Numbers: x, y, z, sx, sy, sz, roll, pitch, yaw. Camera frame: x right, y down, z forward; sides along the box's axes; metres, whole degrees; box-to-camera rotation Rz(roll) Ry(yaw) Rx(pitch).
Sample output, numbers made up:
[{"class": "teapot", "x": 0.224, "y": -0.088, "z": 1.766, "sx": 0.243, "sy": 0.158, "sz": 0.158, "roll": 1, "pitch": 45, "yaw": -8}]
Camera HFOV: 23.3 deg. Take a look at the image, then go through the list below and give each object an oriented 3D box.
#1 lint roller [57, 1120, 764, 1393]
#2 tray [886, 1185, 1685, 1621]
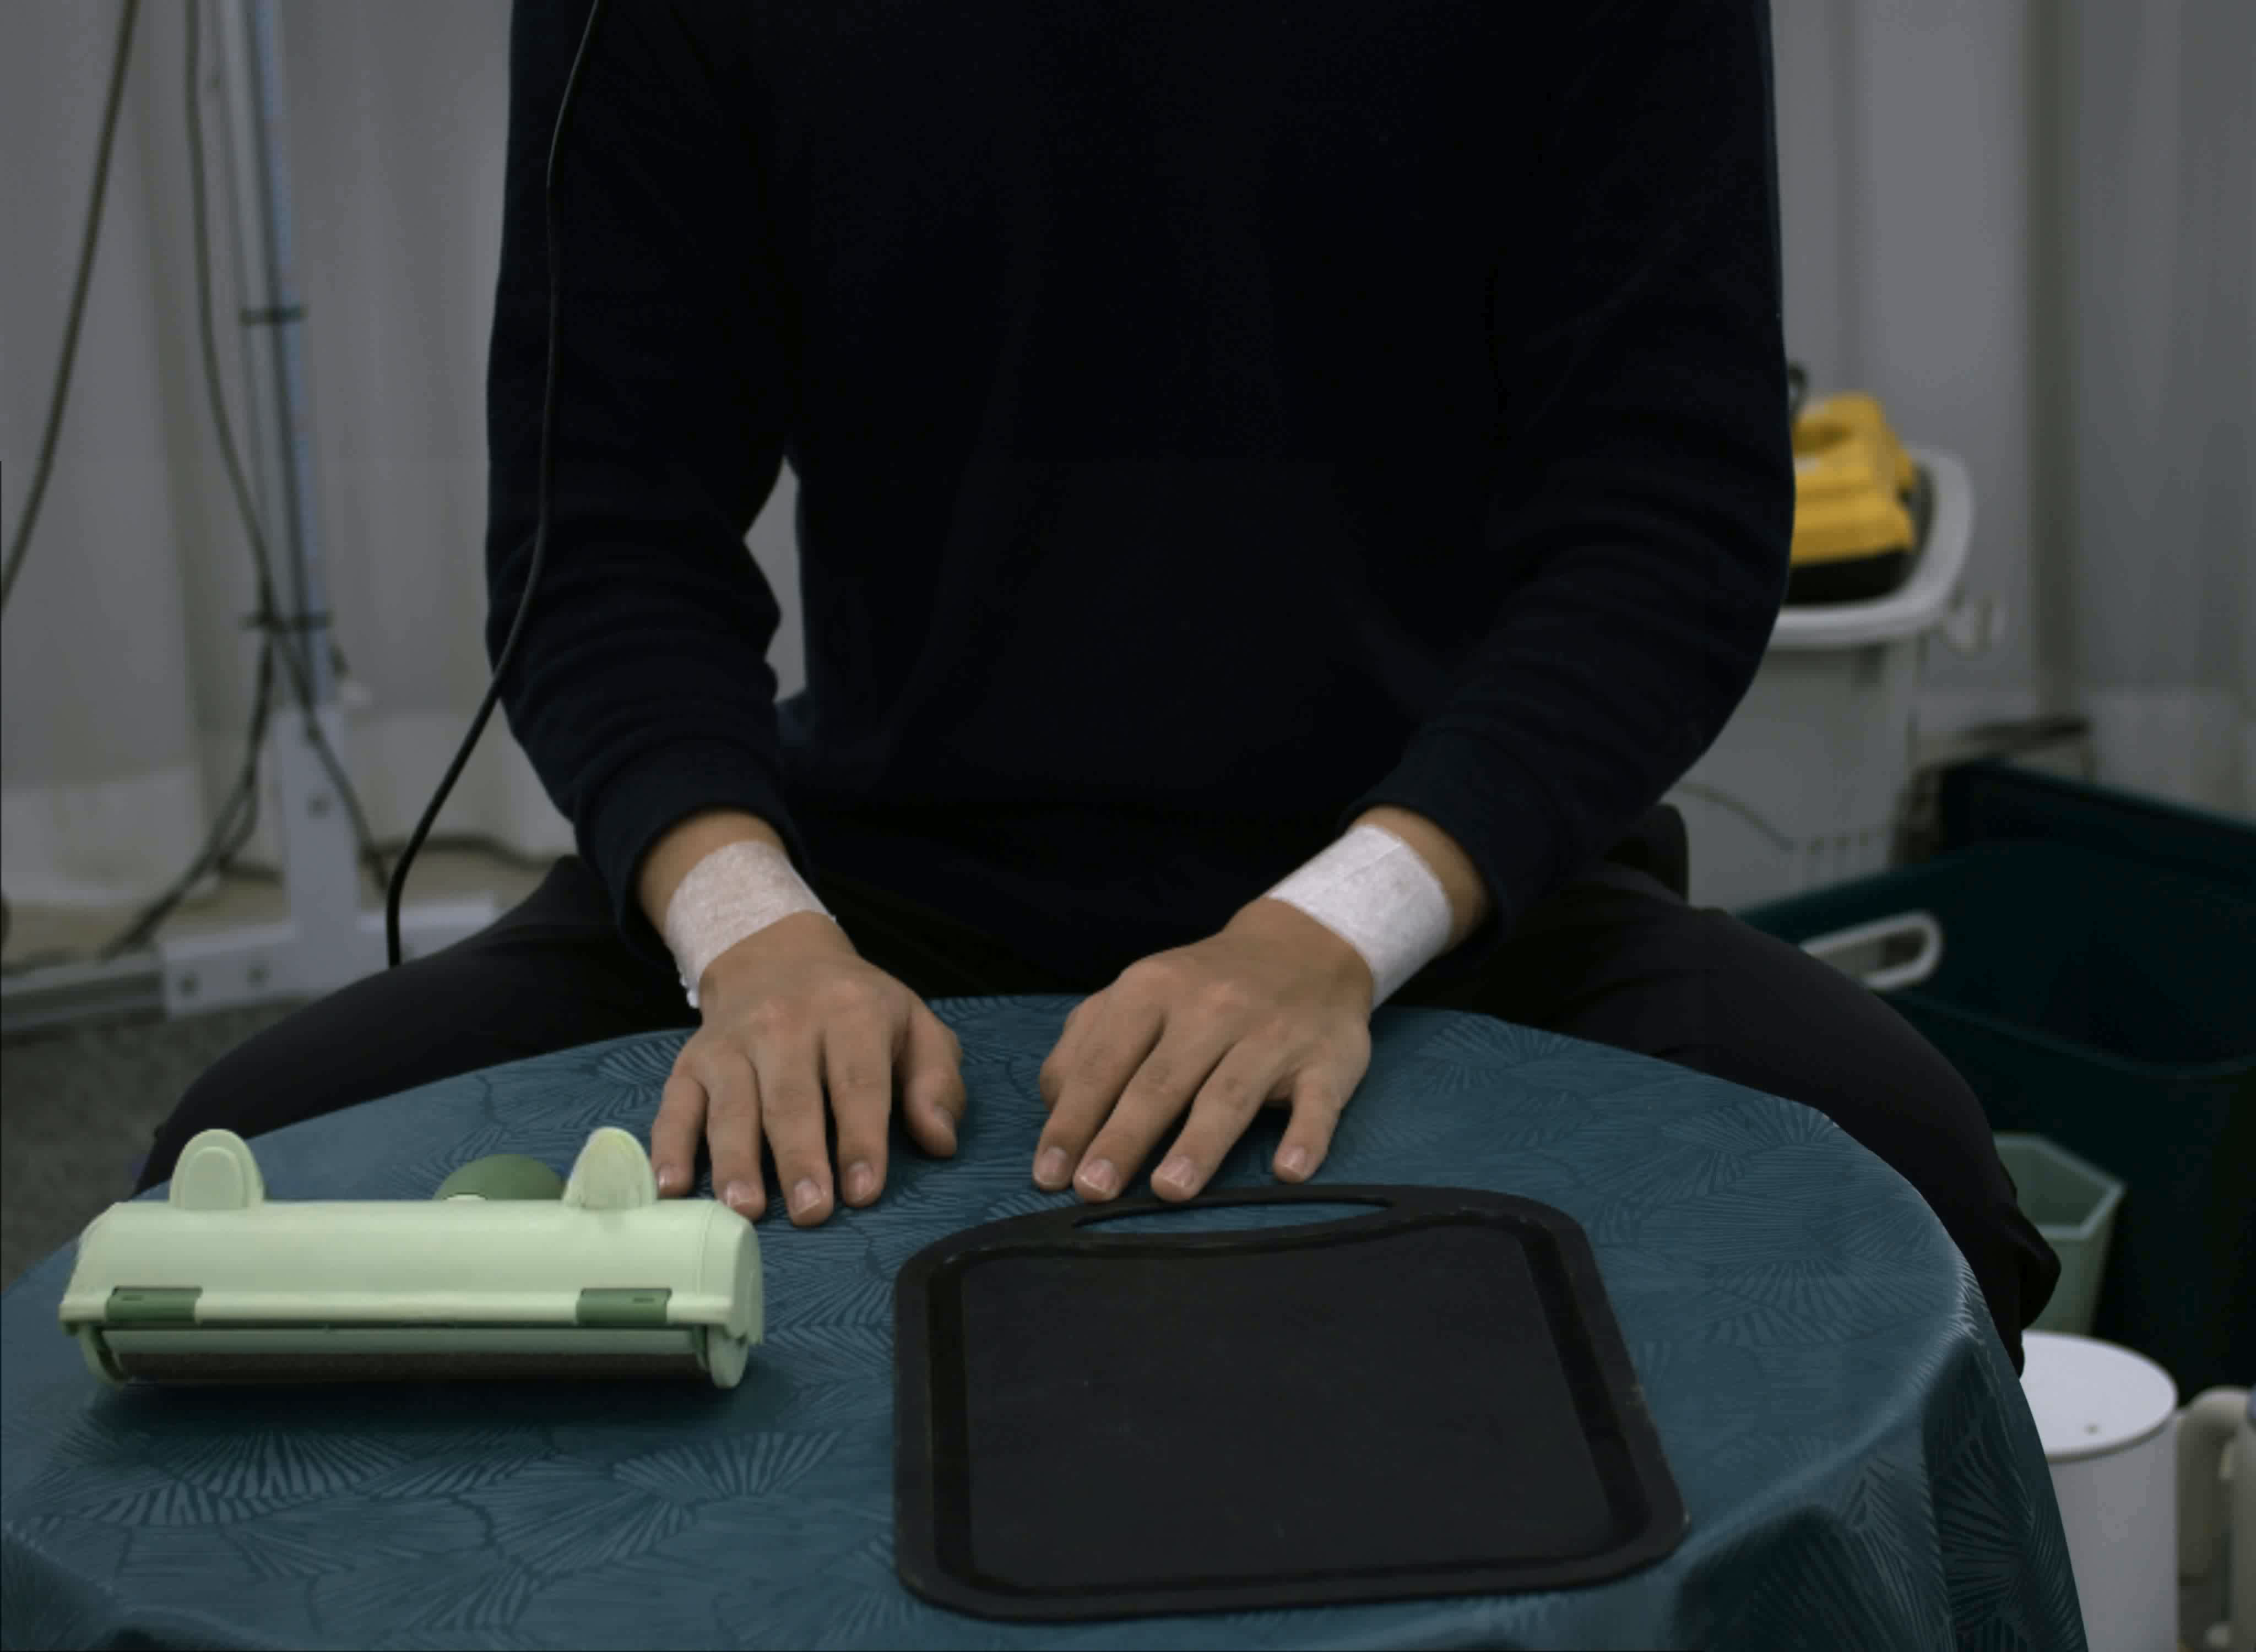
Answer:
[{"class": "lint roller", "x": -0.200, "y": 0.106, "z": 1.620, "sx": 0.198, "sy": 0.081, "sz": 0.185, "roll": 0, "pitch": 21, "yaw": 6}, {"class": "tray", "x": 0.037, "y": 0.155, "z": 1.545, "sx": 0.210, "sy": 0.010, "sz": 0.328, "roll": -3, "pitch": 15, "yaw": -1}]
